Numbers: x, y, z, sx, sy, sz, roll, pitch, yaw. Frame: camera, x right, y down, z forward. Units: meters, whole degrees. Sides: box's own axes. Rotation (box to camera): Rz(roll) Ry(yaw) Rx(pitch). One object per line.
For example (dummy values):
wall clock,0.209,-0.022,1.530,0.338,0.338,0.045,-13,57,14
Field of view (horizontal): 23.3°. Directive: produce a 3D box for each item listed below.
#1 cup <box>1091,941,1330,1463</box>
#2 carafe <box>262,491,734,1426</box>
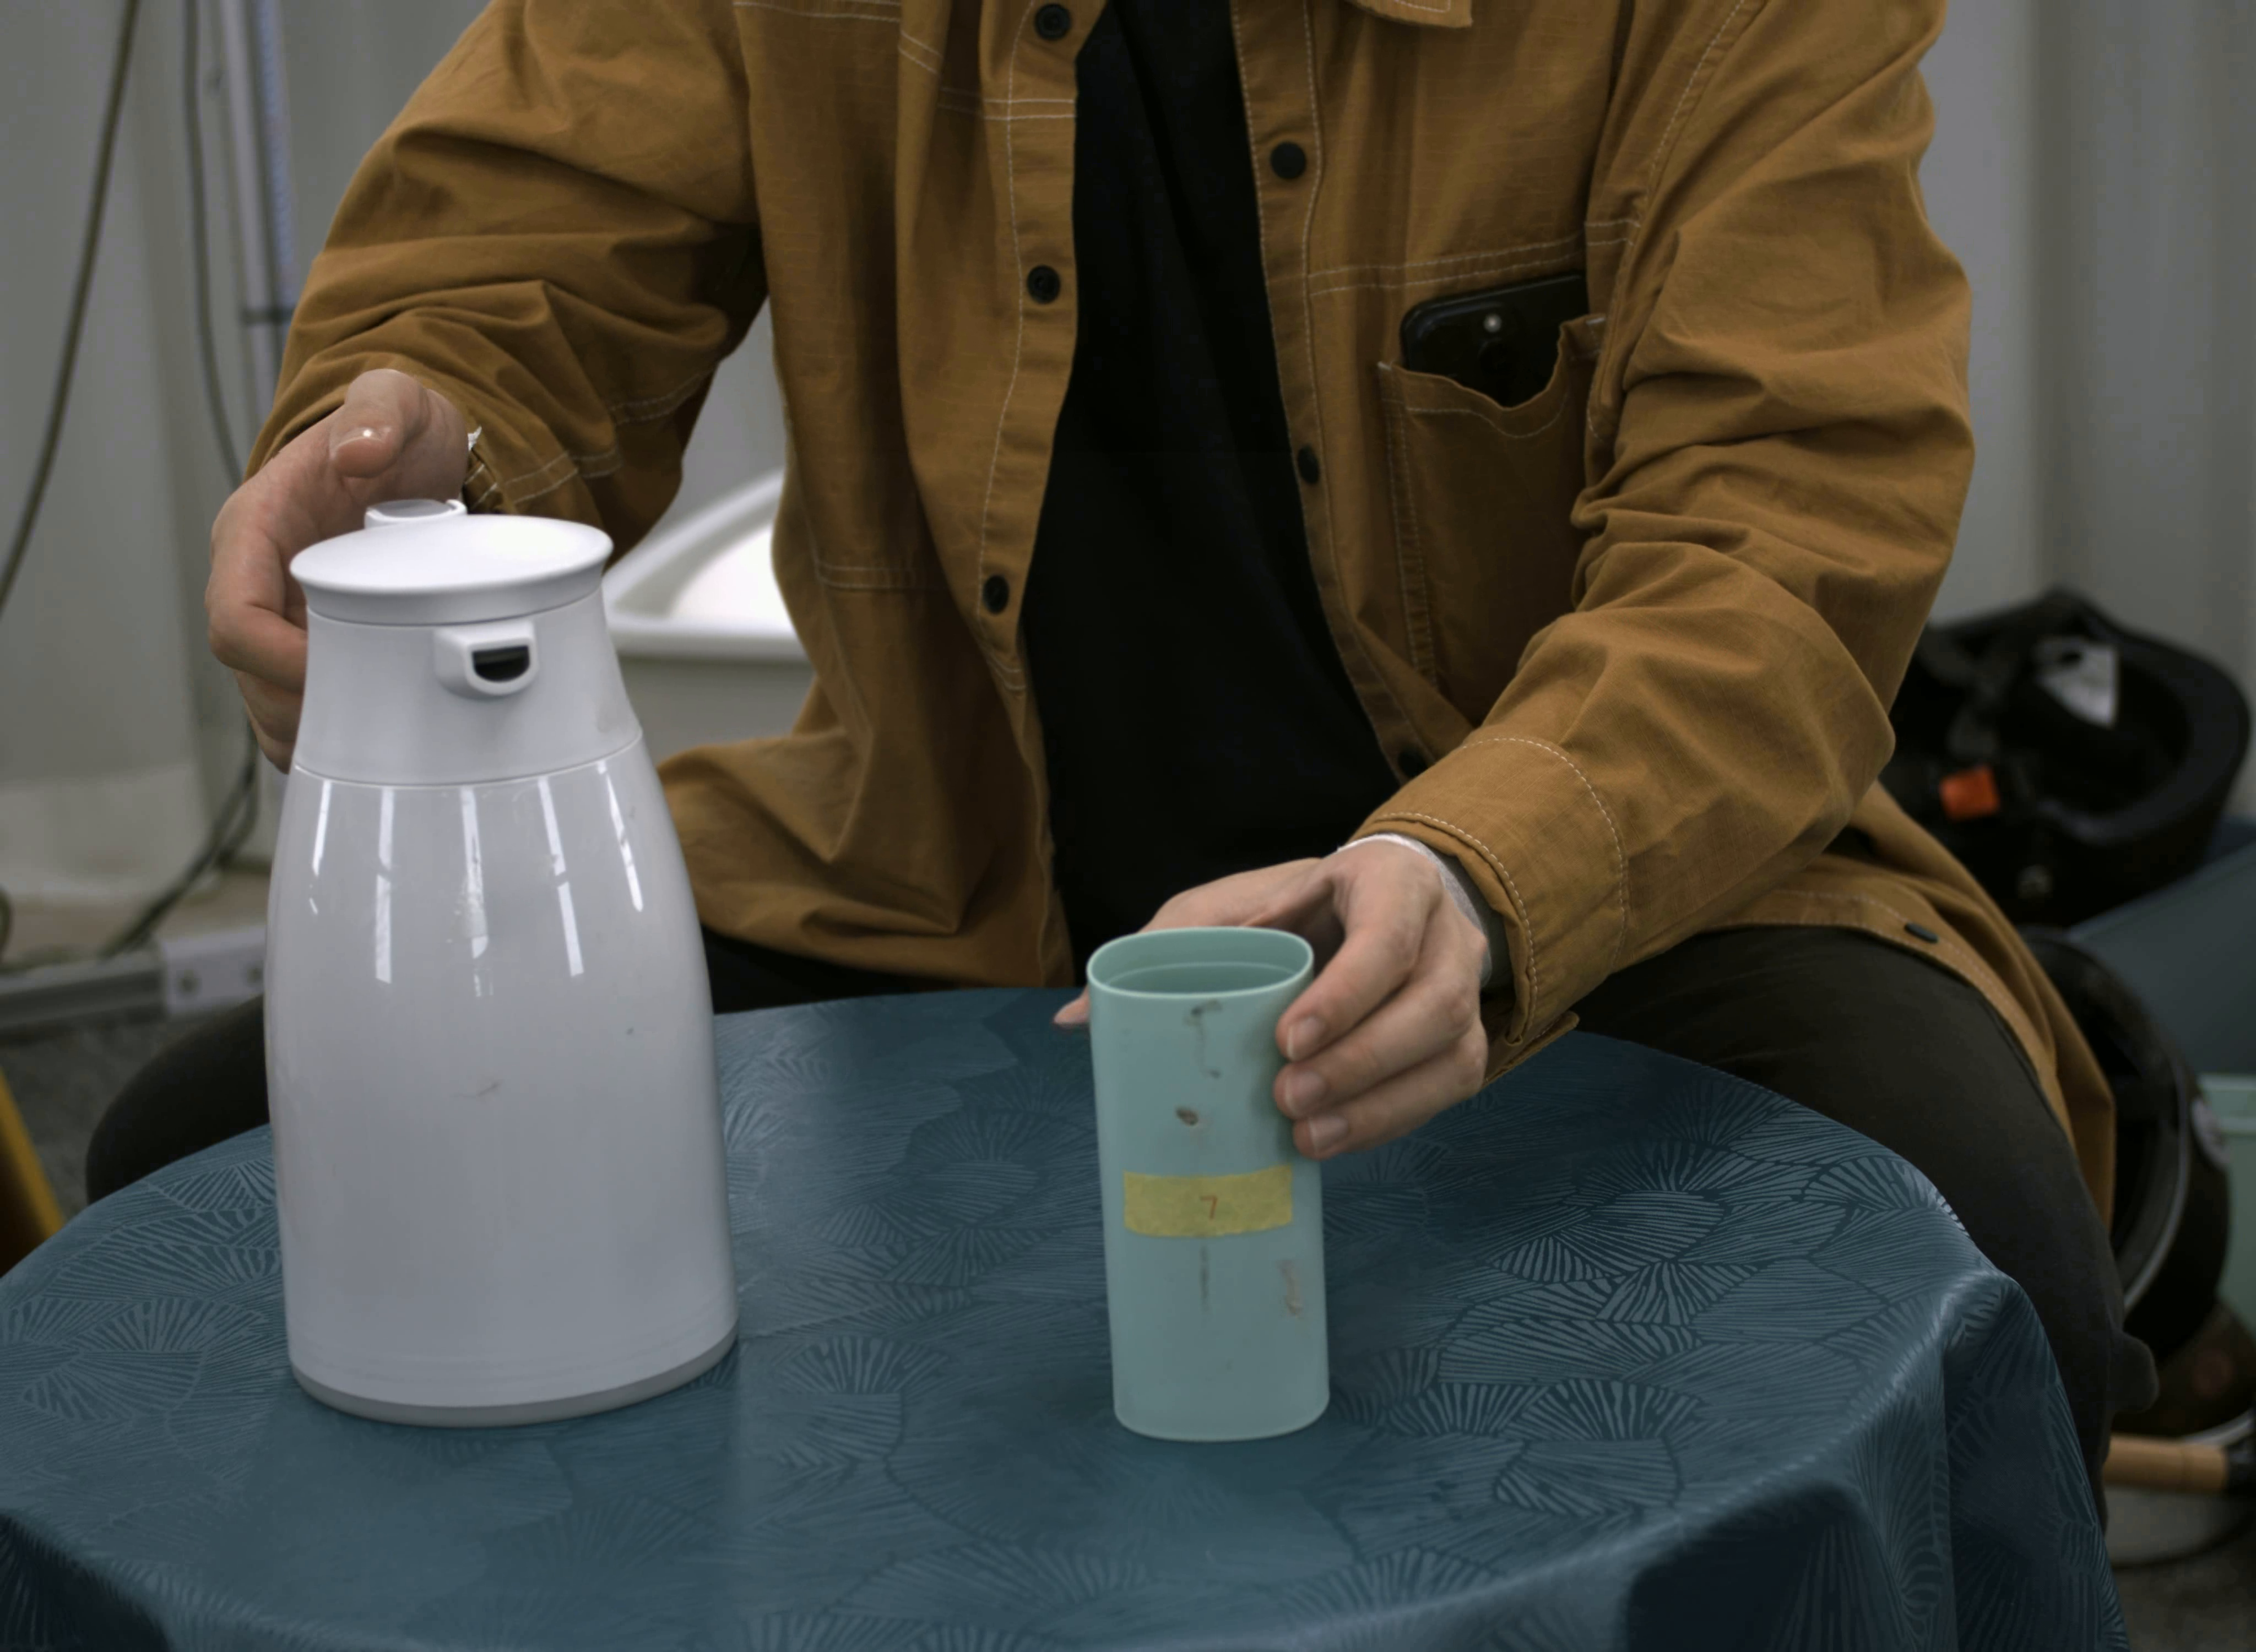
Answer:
cup,0.024,0.103,1.514,0.066,0.132,0.067,-2,15,0
carafe,-0.193,0.030,1.592,0.132,0.248,0.169,-8,14,-18
